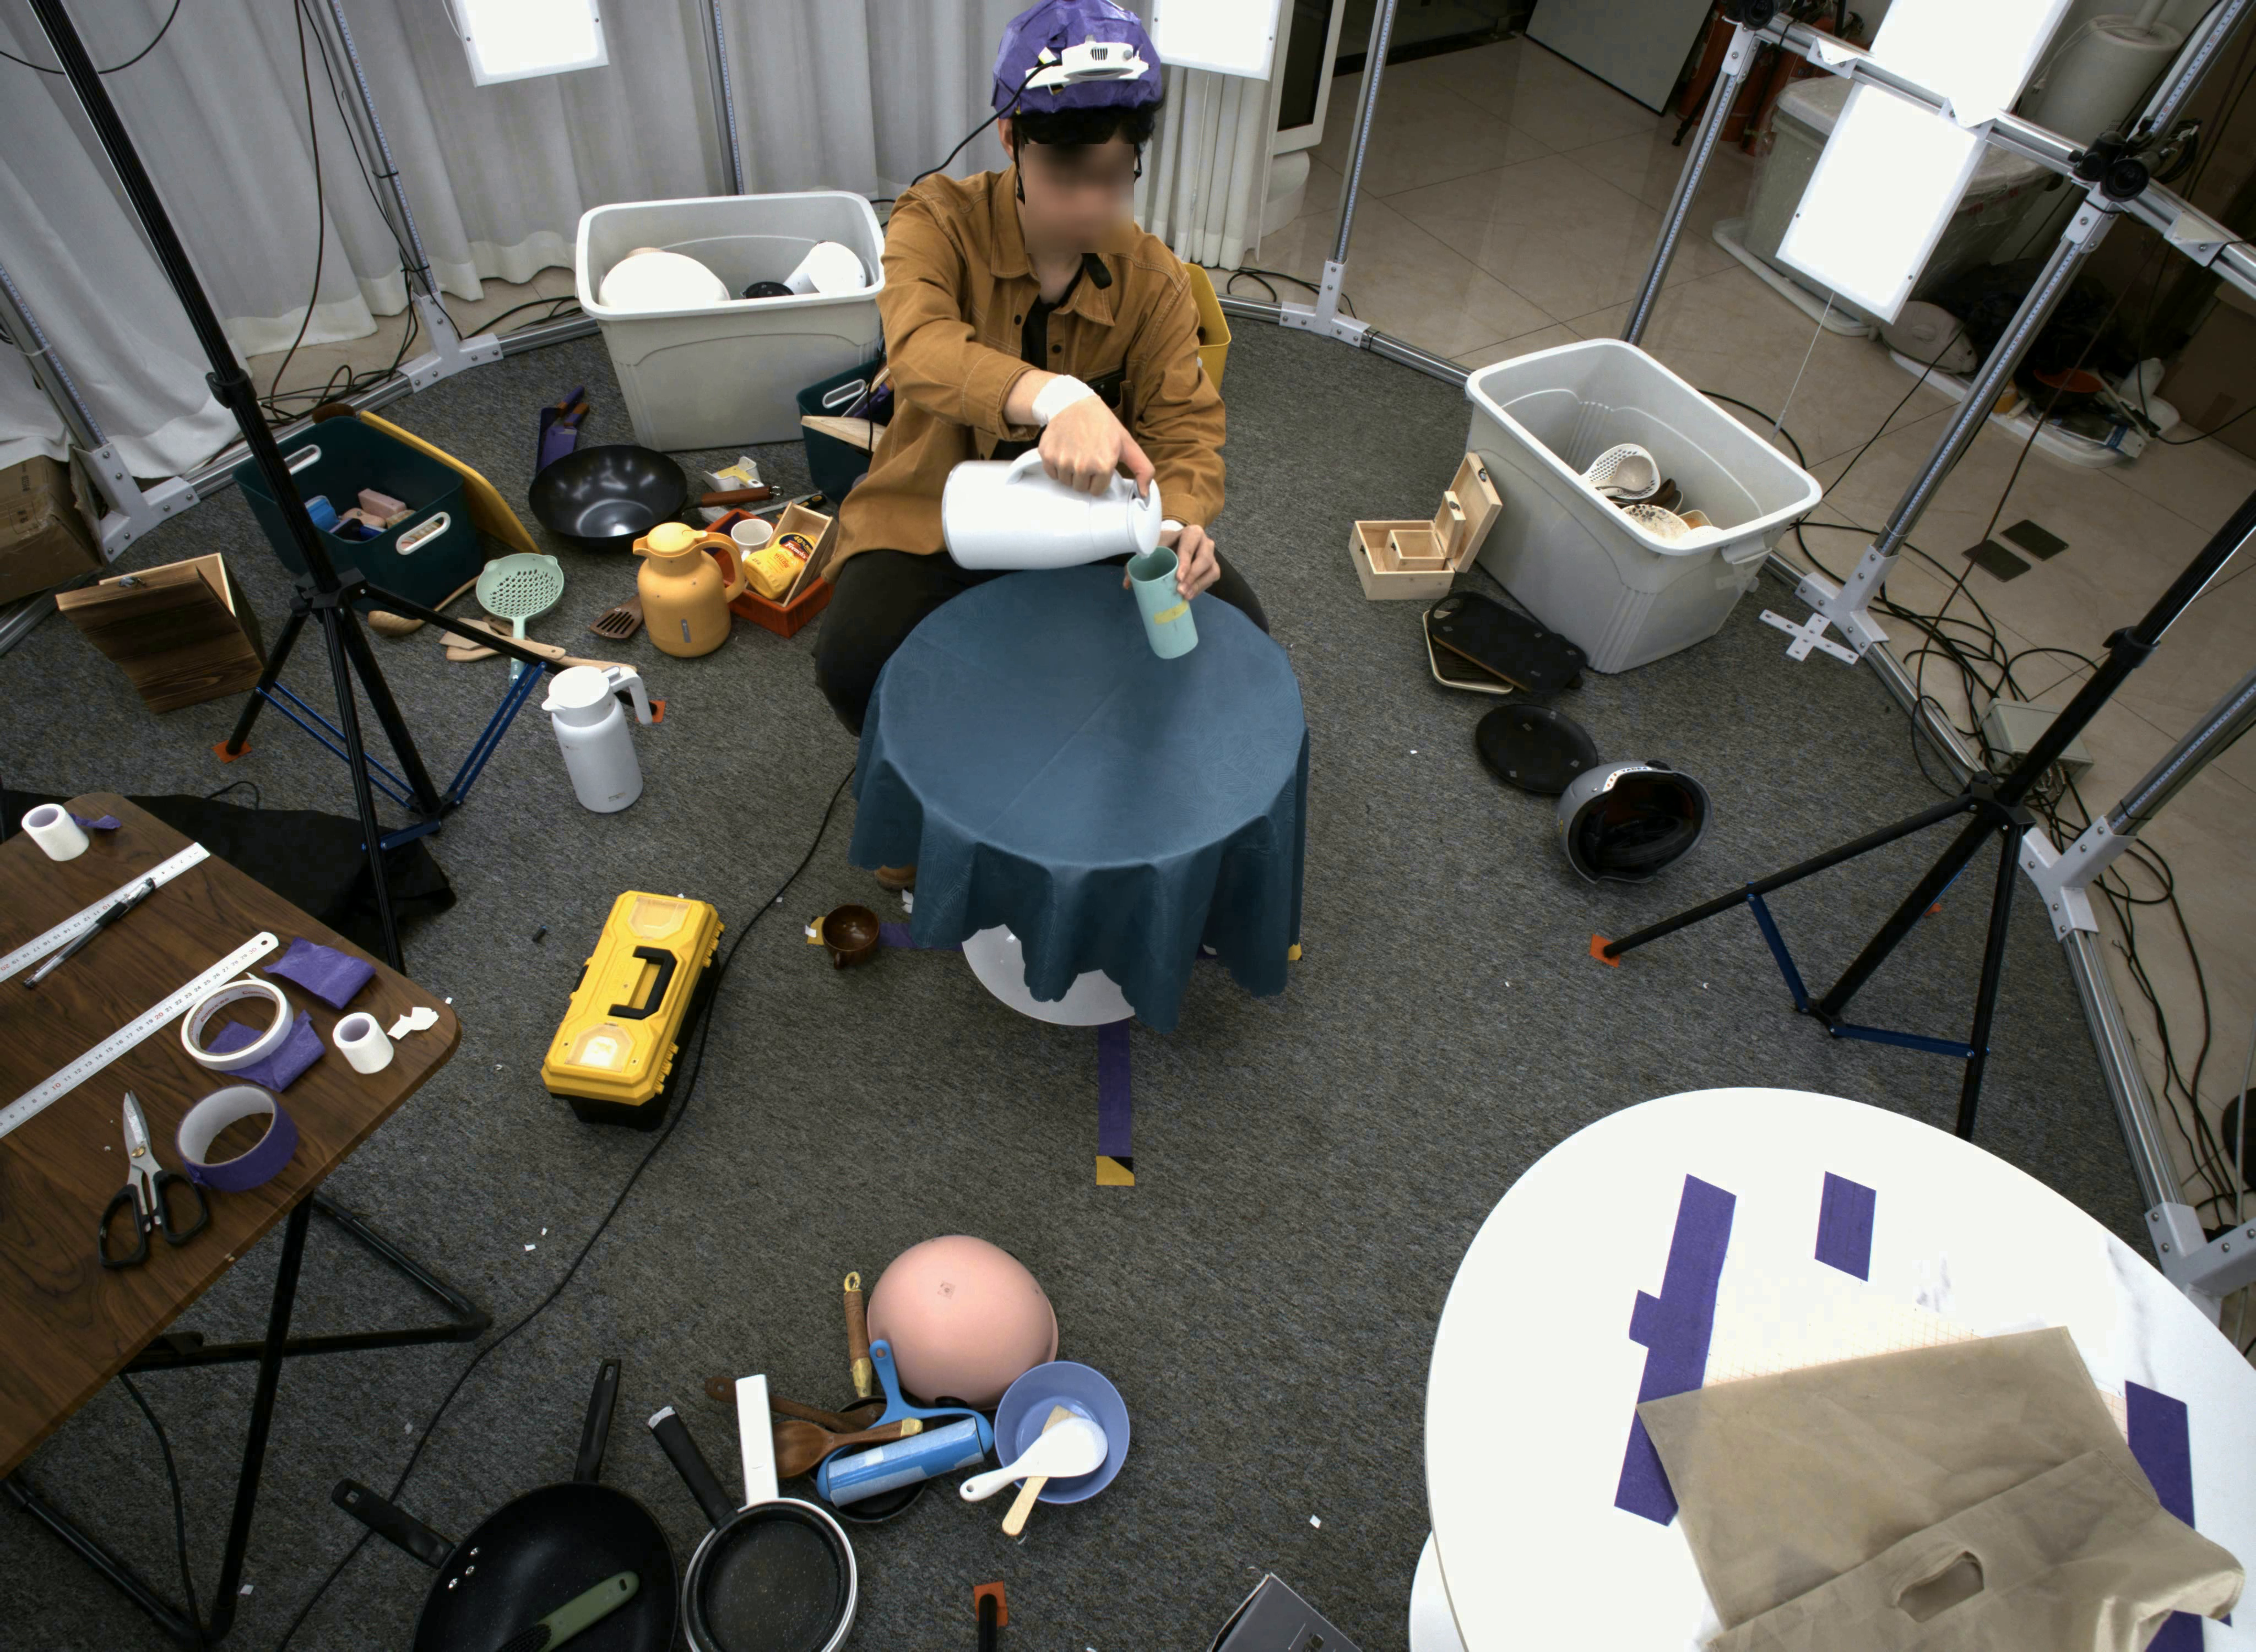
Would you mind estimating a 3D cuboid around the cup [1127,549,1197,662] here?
[{"bbox_3d":[0.044,-0.276,1.612,0.067,0.129,0.068,-9,48,10],"label":"cup"}]

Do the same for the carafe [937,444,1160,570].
[{"bbox_3d":[-0.092,-0.380,1.524,0.249,0.164,0.135,6,60,22],"label":"carafe"}]
